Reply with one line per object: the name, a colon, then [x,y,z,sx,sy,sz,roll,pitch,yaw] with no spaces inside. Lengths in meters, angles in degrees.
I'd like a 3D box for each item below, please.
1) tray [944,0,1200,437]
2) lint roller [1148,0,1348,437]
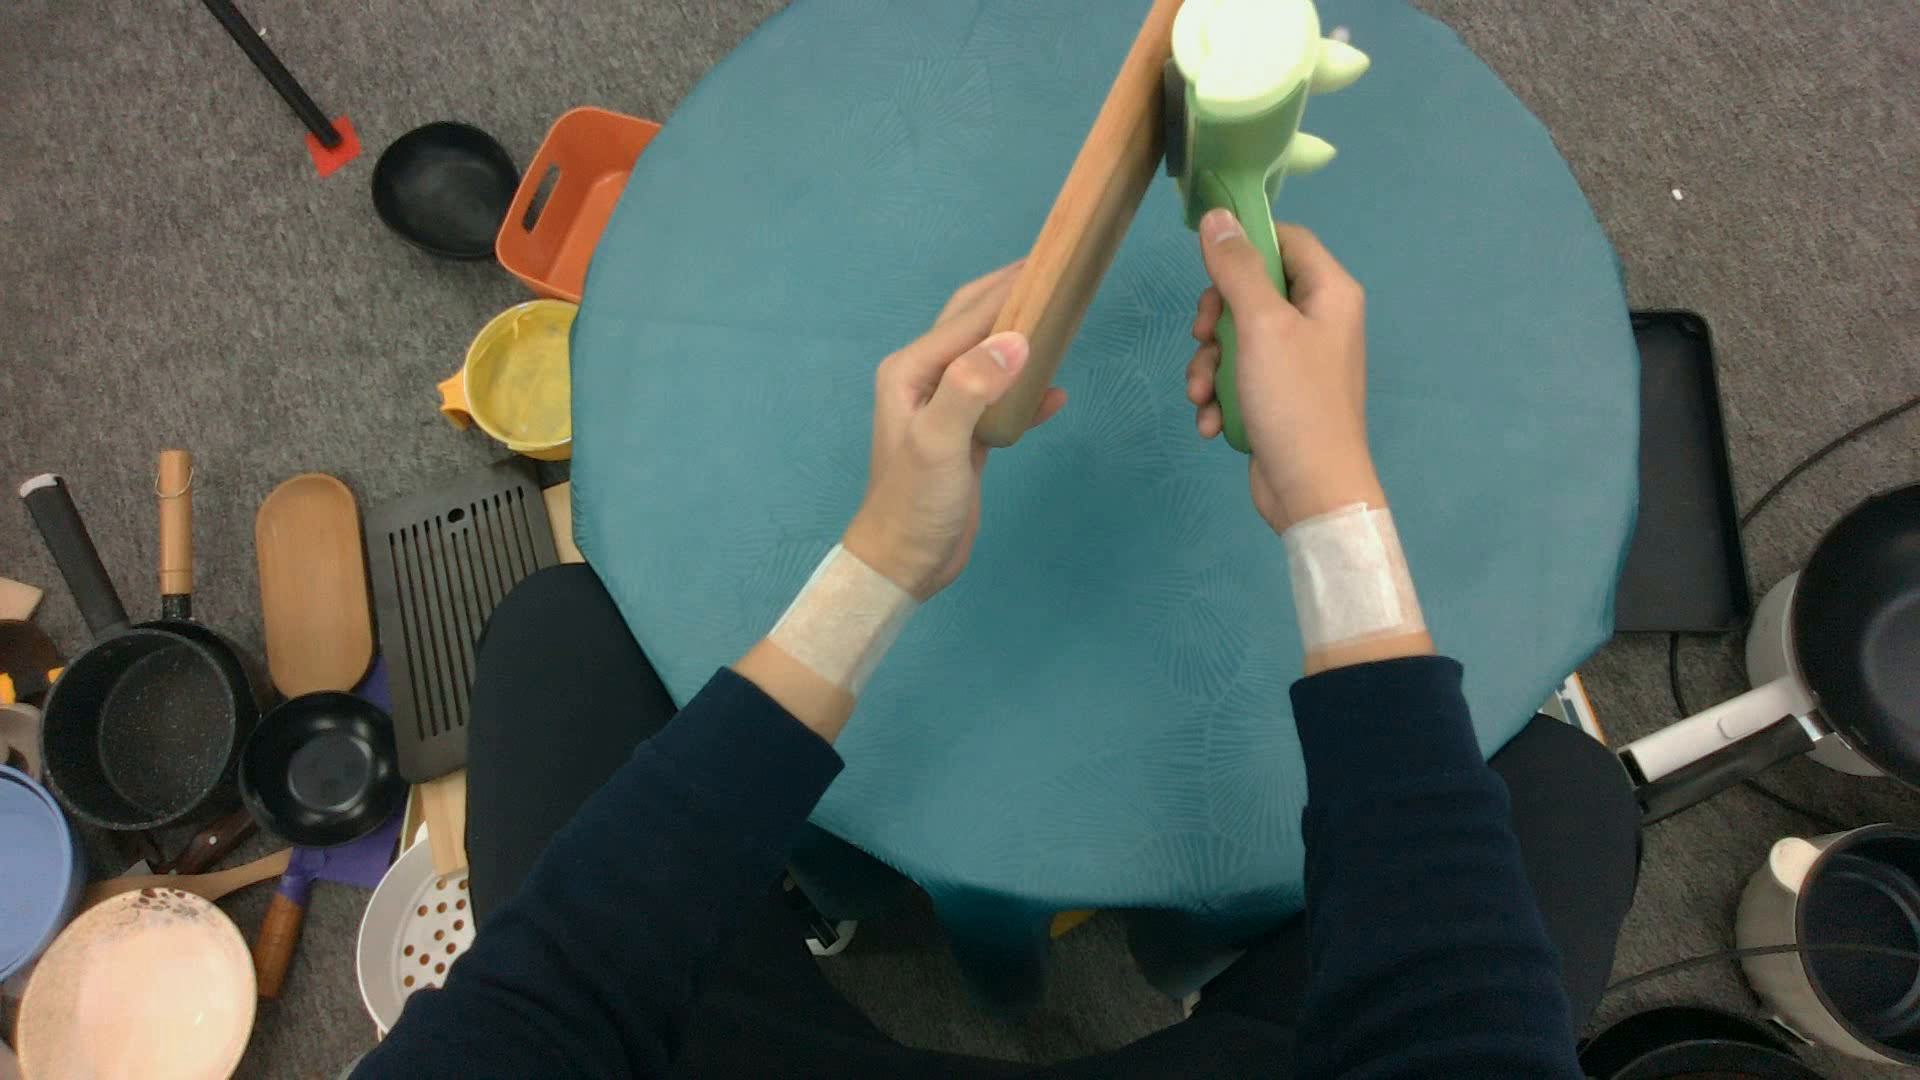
tray: [0.056,-0.162,0.607,0.023,0.130,0.250,24,92,9]
lint roller: [0.133,-0.142,0.599,0.082,0.199,0.183,-17,88,7]
